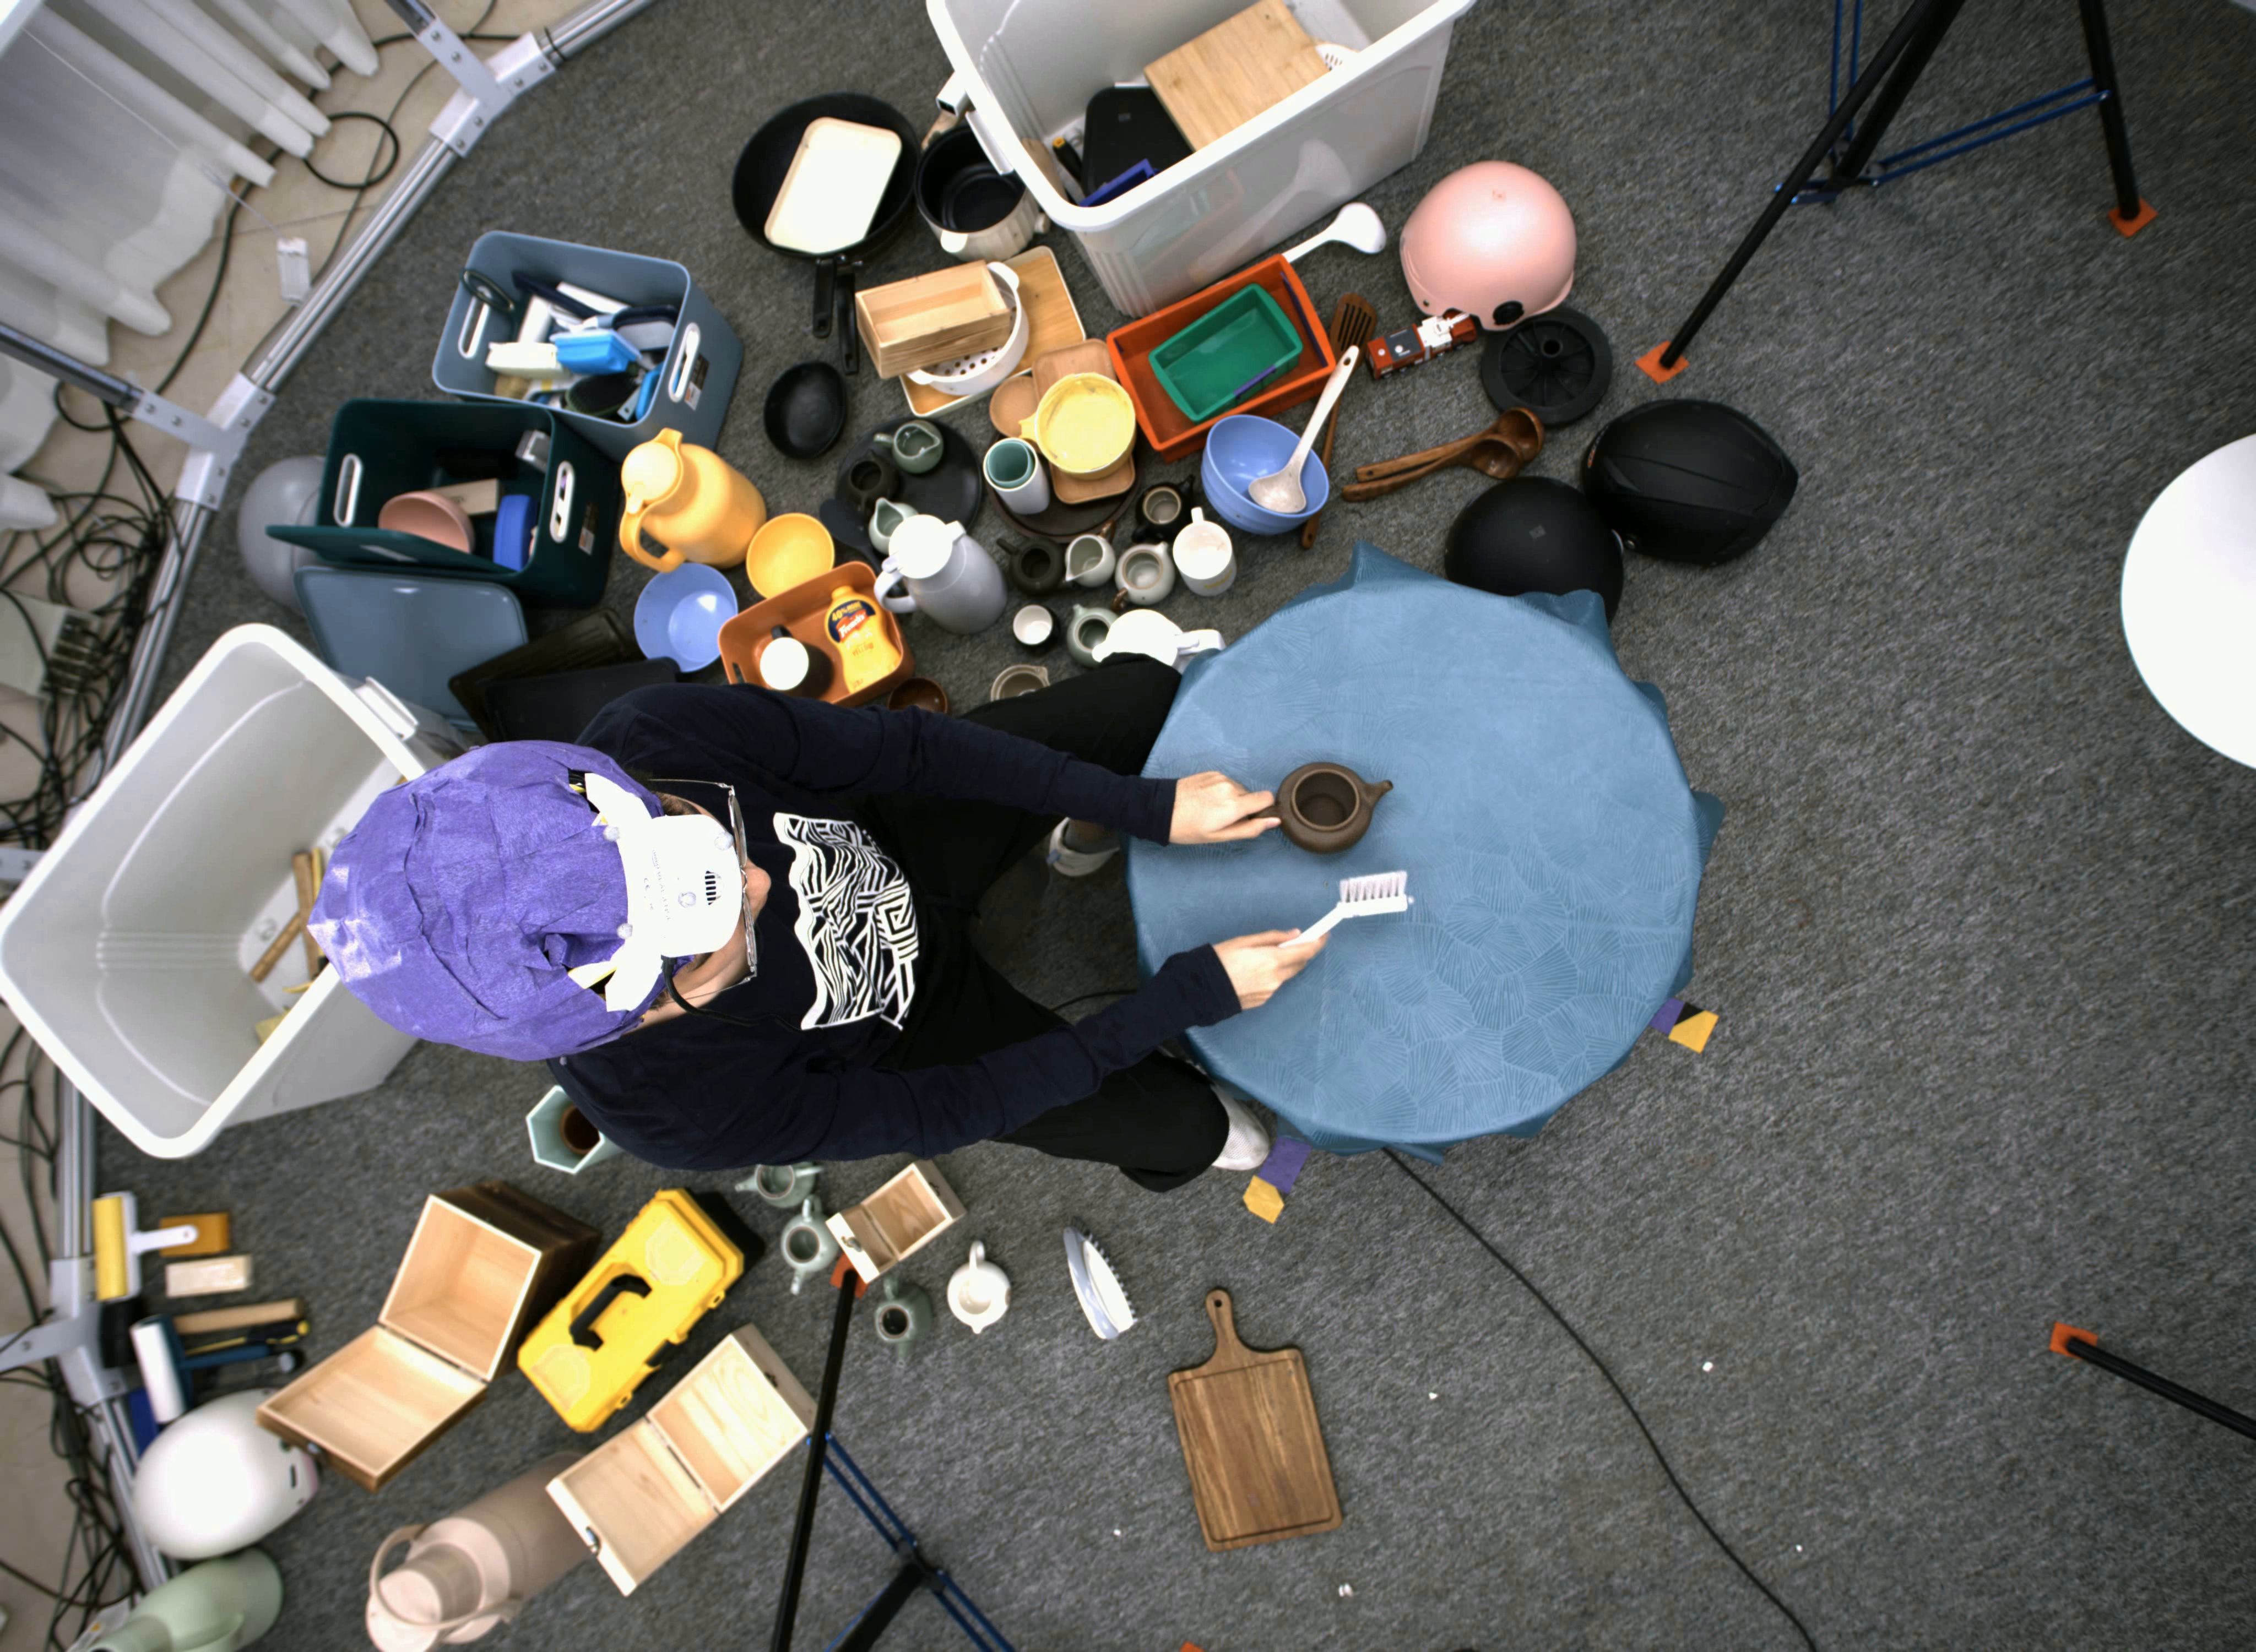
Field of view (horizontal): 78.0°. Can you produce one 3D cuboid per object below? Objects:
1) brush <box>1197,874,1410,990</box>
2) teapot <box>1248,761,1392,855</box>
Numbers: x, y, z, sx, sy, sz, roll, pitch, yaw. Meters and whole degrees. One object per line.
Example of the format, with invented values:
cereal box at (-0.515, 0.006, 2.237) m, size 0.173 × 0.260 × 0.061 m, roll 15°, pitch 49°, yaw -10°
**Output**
brush at (0.176, 0.103, 1.417) m, size 0.245 × 0.034 × 0.050 m, roll -23°, pitch 96°, yaw 9°
teapot at (0.200, -0.019, 1.441) m, size 0.153 × 0.054 × 0.101 m, roll -17°, pitch 70°, yaw -4°
